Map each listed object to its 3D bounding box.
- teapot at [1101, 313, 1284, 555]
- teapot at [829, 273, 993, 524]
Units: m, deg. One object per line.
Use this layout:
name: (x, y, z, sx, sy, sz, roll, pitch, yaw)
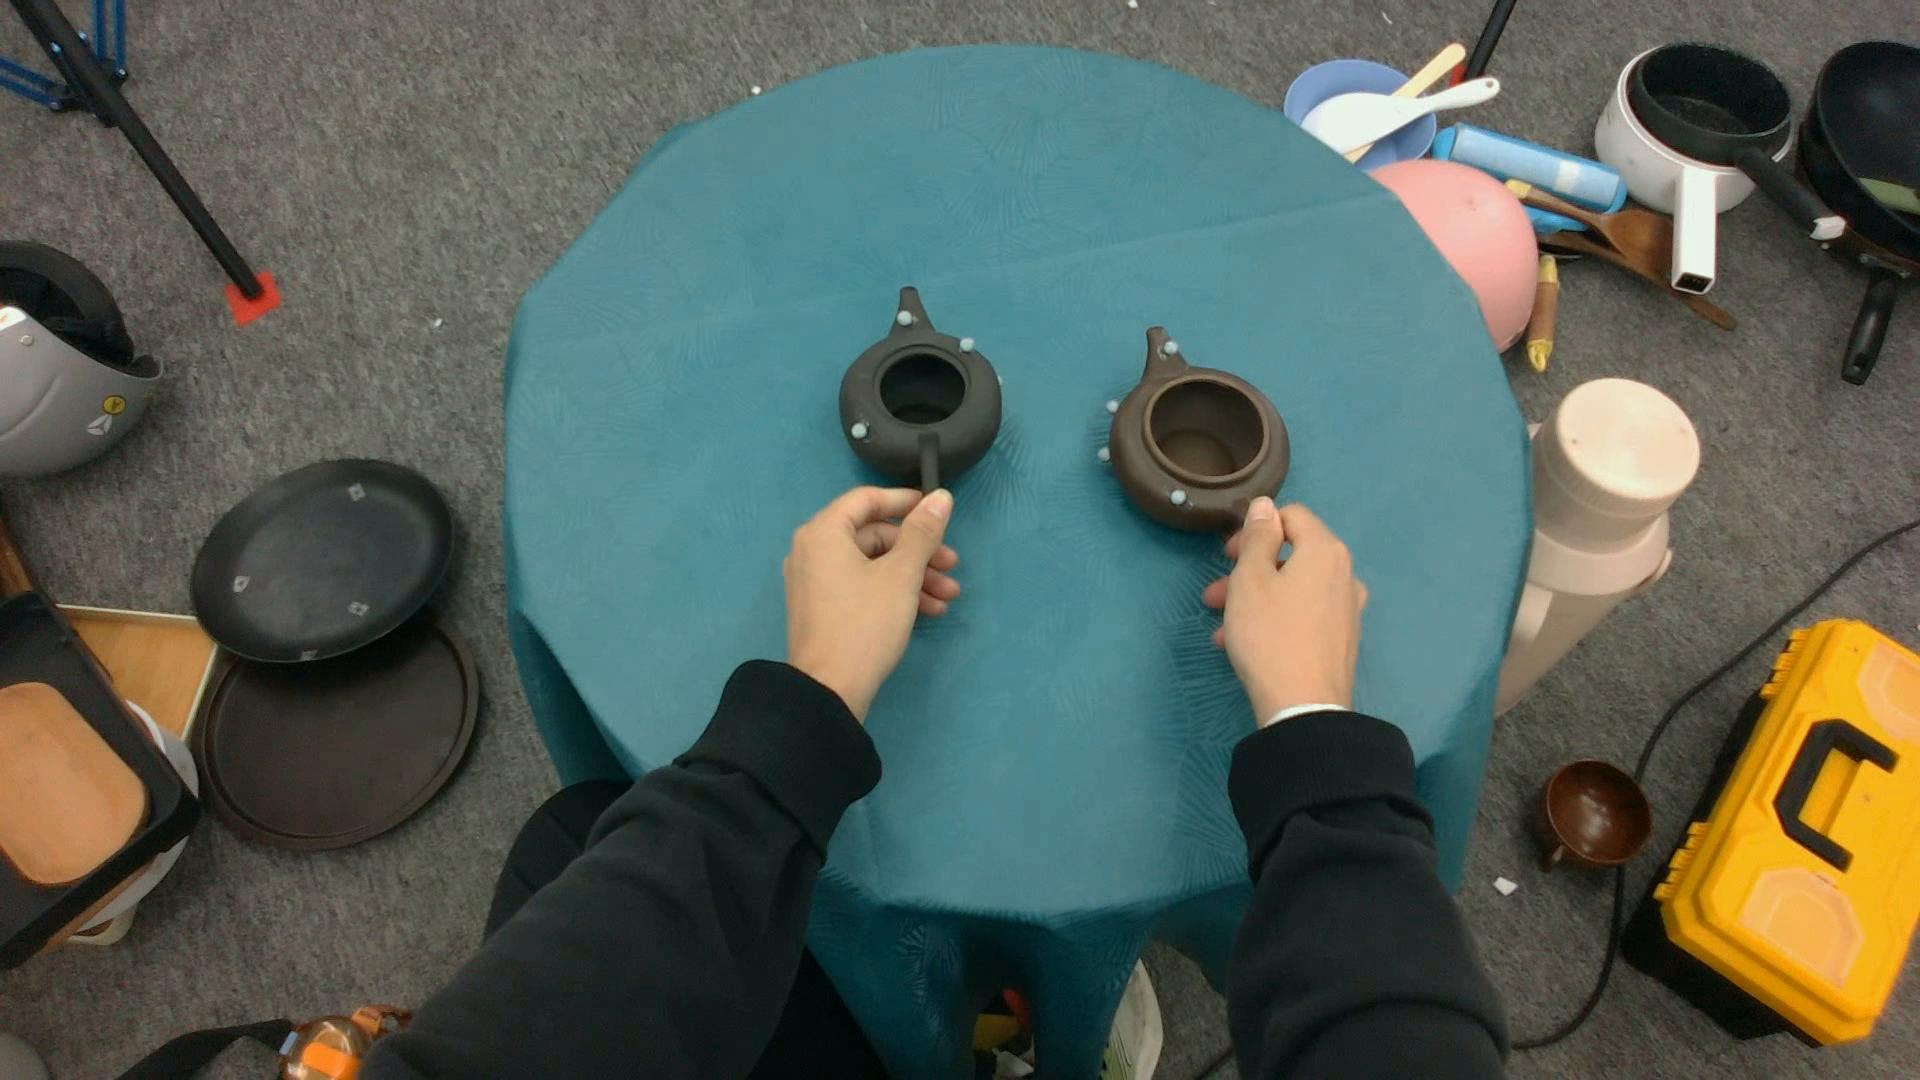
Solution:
teapot: (0.133, -0.057, 0.776, 0.103, 0.053, 0.154, -25, 66, -12)
teapot: (-0.027, -0.078, 0.774, 0.092, 0.064, 0.155, -4, 62, -3)
